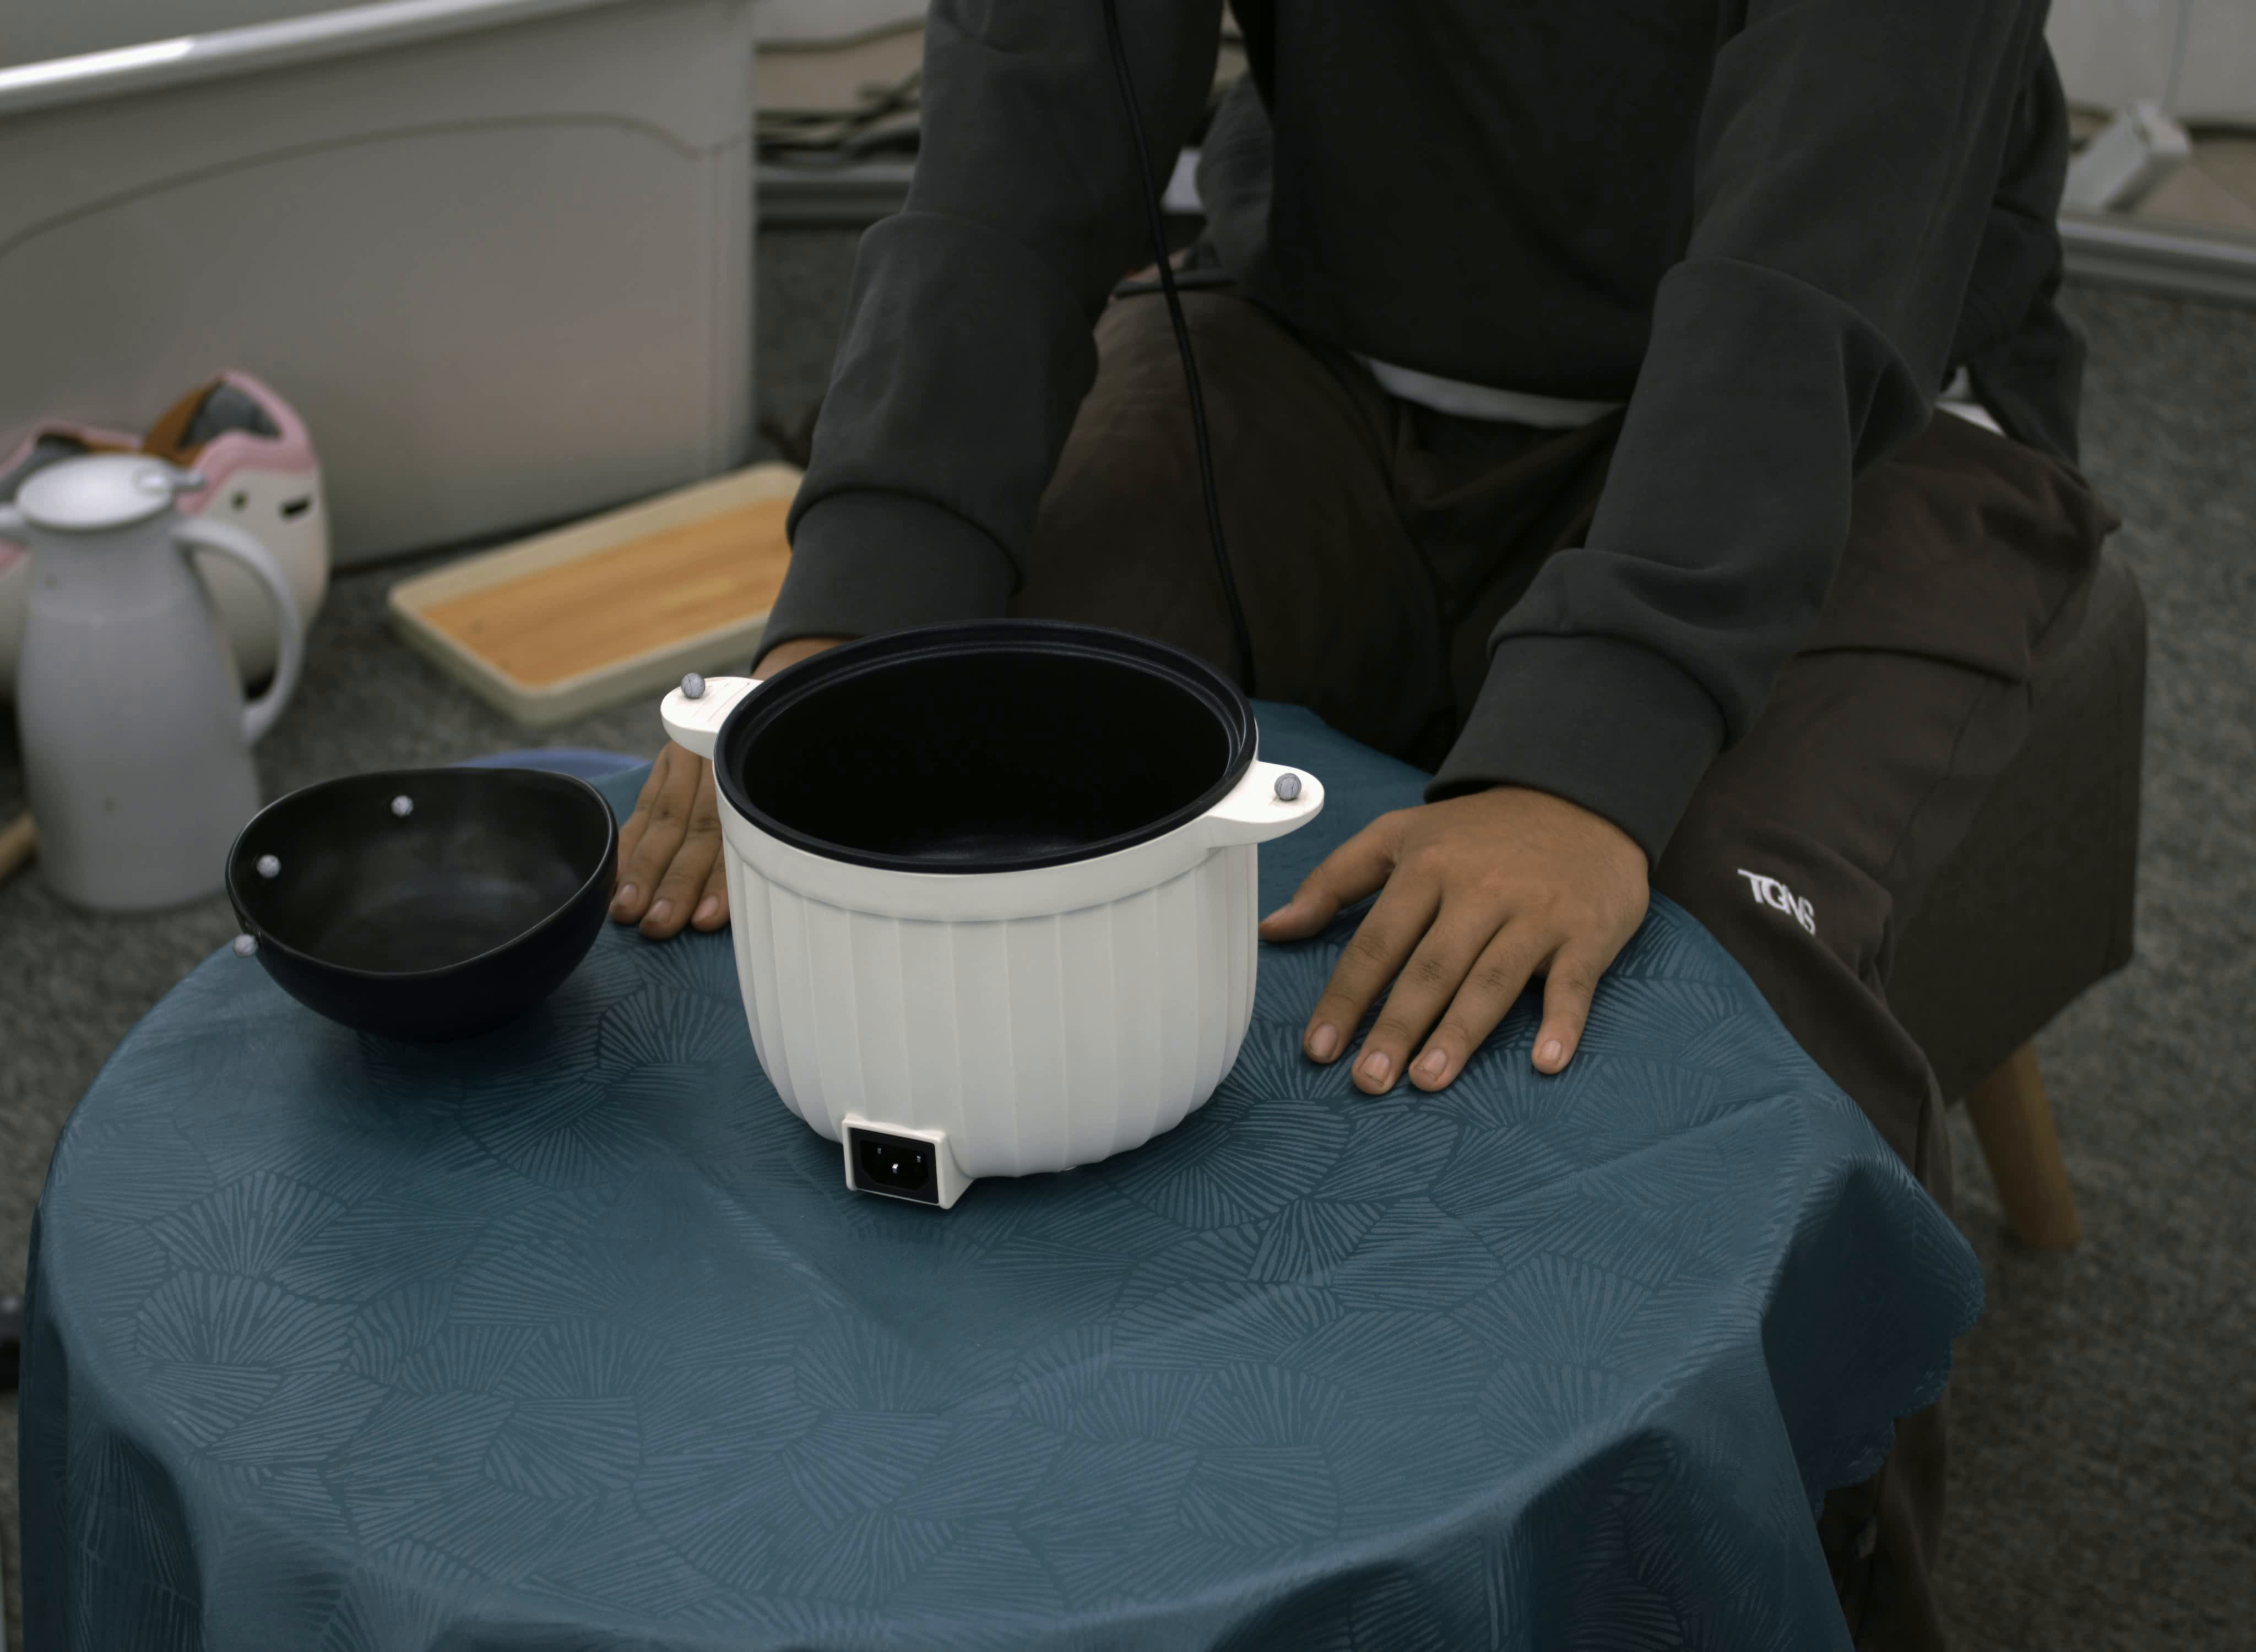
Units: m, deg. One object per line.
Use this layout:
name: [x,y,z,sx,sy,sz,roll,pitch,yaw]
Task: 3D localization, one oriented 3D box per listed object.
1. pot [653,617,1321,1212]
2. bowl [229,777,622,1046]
pot: [-0.045,0.027,1.904,0.239,0.141,0.194,10,32,20]
bowl: [-0.245,0.035,1.985,0.136,0.066,0.173,-2,26,2]
